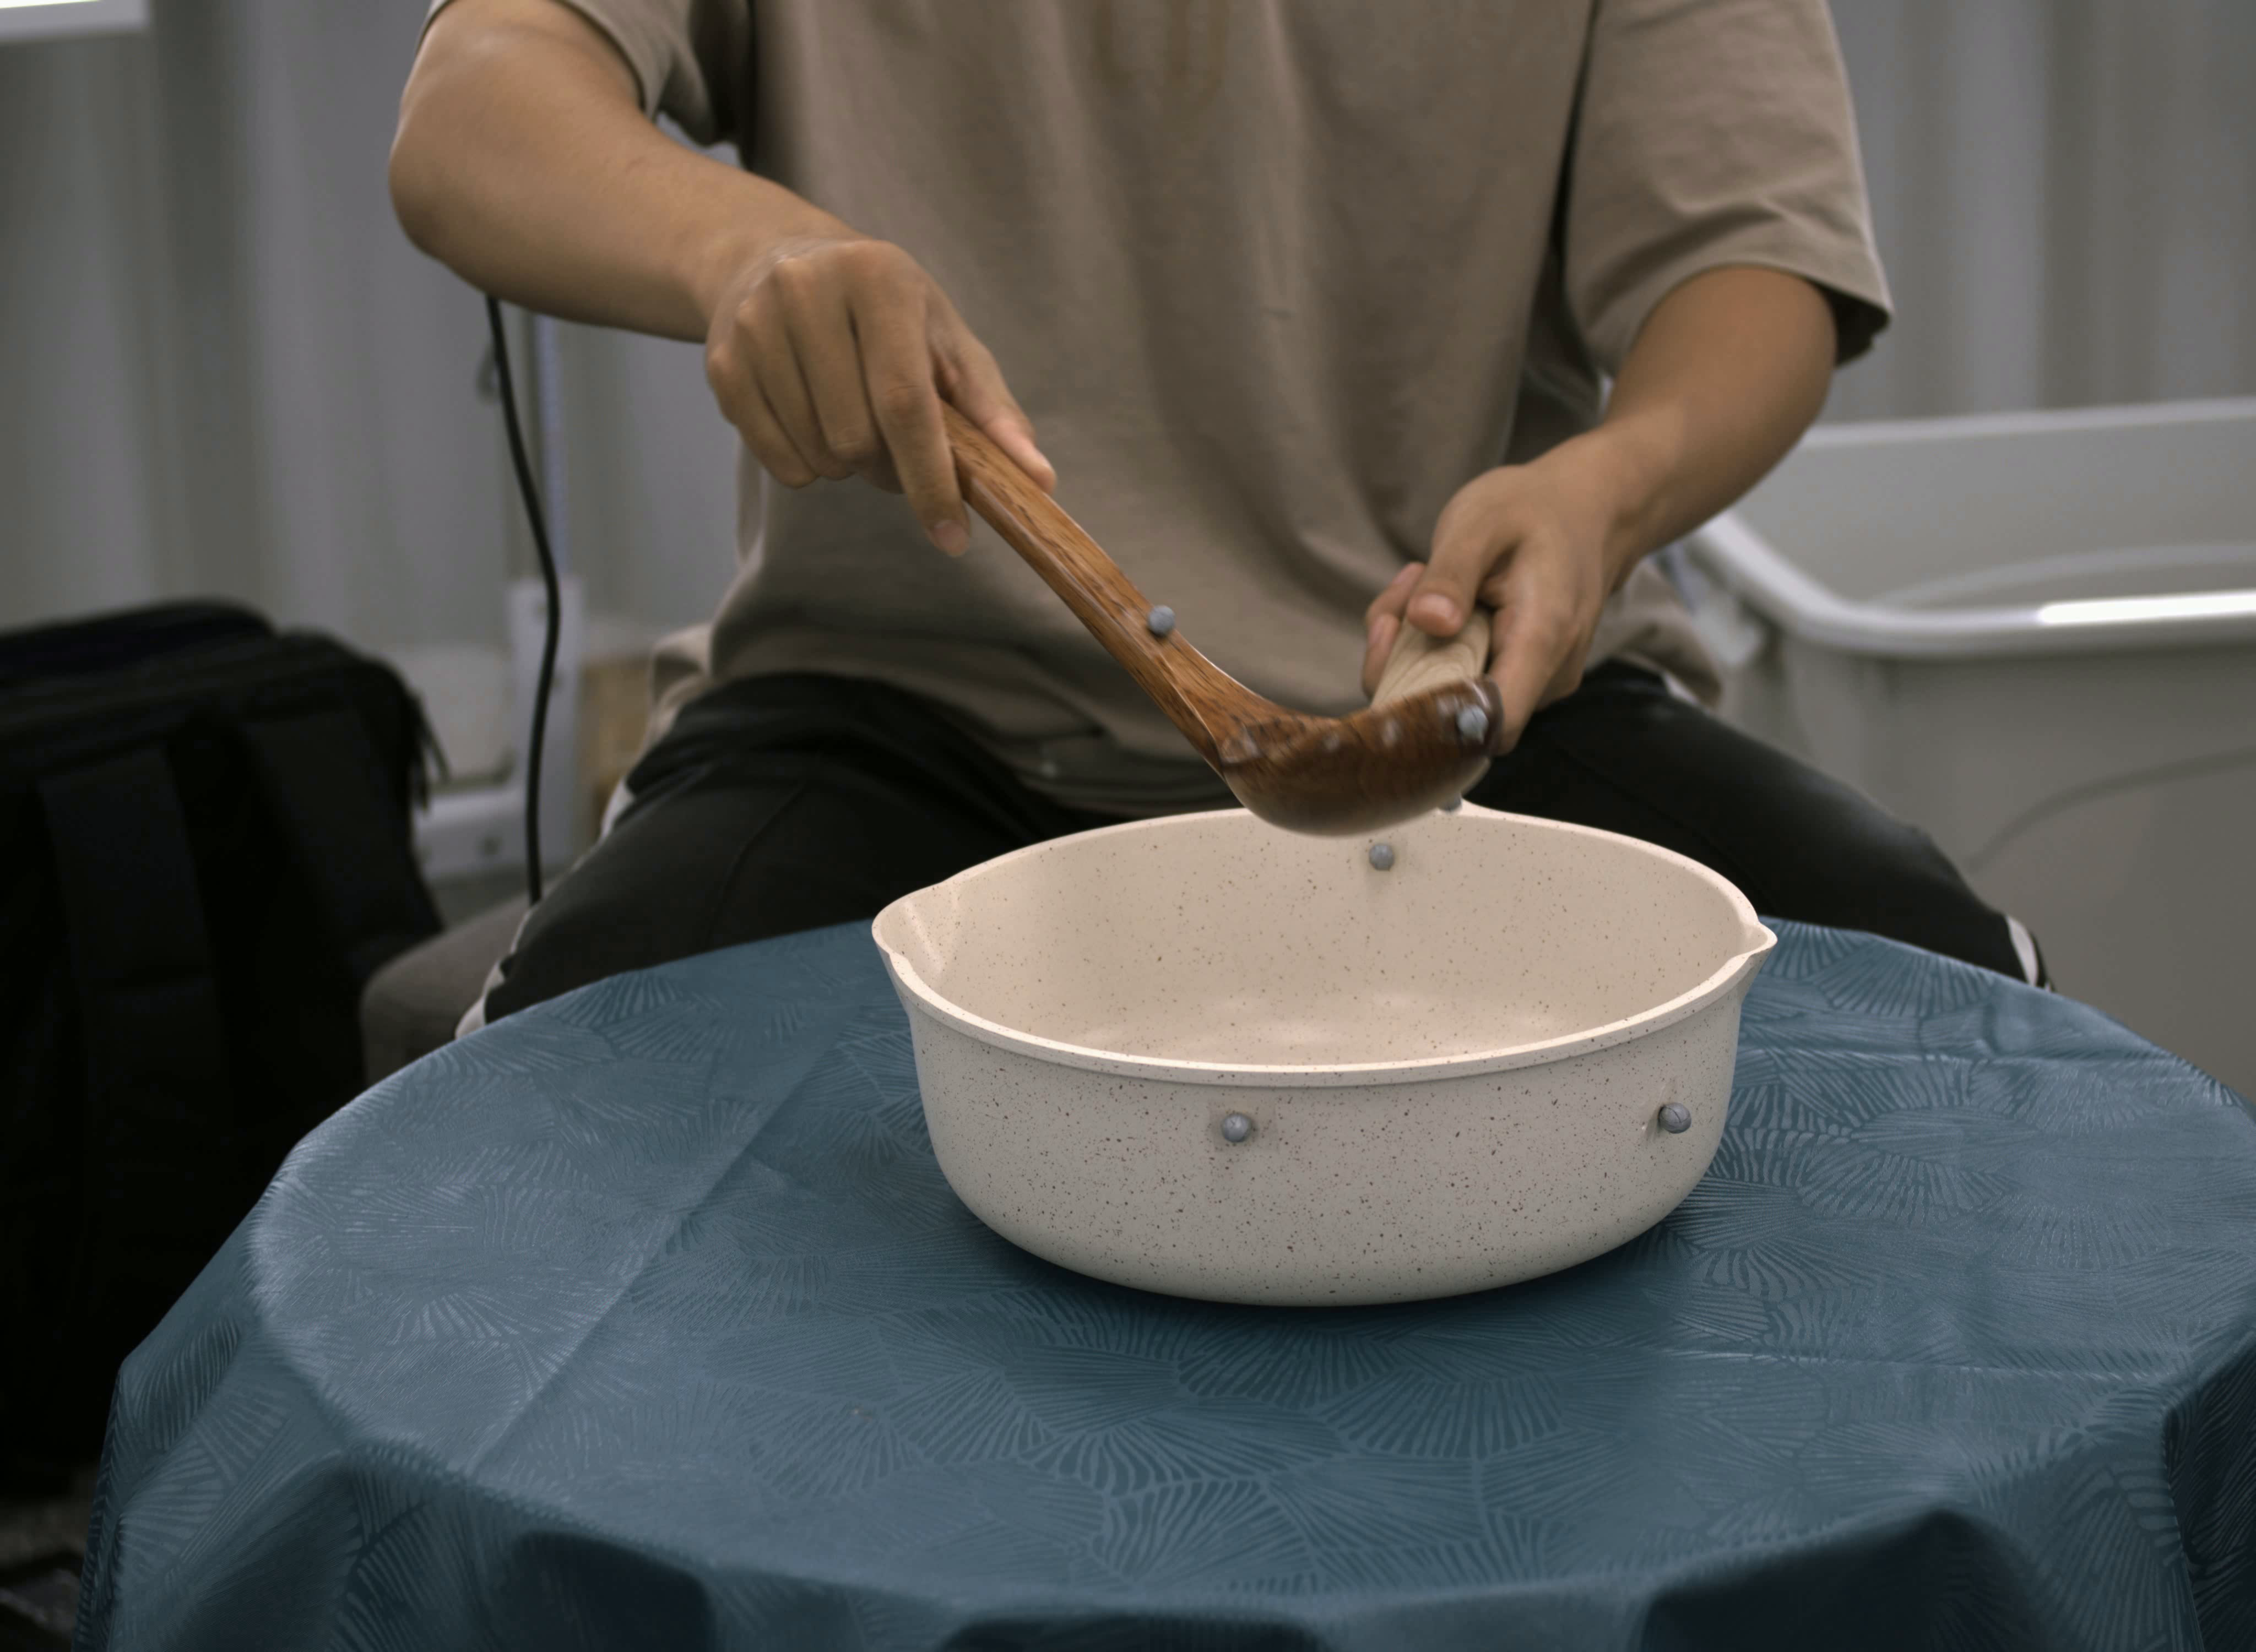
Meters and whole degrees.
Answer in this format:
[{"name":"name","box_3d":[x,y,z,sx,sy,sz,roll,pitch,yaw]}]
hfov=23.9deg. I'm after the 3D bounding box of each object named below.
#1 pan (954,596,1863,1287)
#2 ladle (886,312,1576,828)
[{"name":"pan","box_3d":[0.097,0.031,1.620,0.265,0.102,0.433,0,16,11]},{"name":"ladle","box_3d":[0.023,-0.091,1.538,0.080,0.077,0.279,-7,44,-43]}]
